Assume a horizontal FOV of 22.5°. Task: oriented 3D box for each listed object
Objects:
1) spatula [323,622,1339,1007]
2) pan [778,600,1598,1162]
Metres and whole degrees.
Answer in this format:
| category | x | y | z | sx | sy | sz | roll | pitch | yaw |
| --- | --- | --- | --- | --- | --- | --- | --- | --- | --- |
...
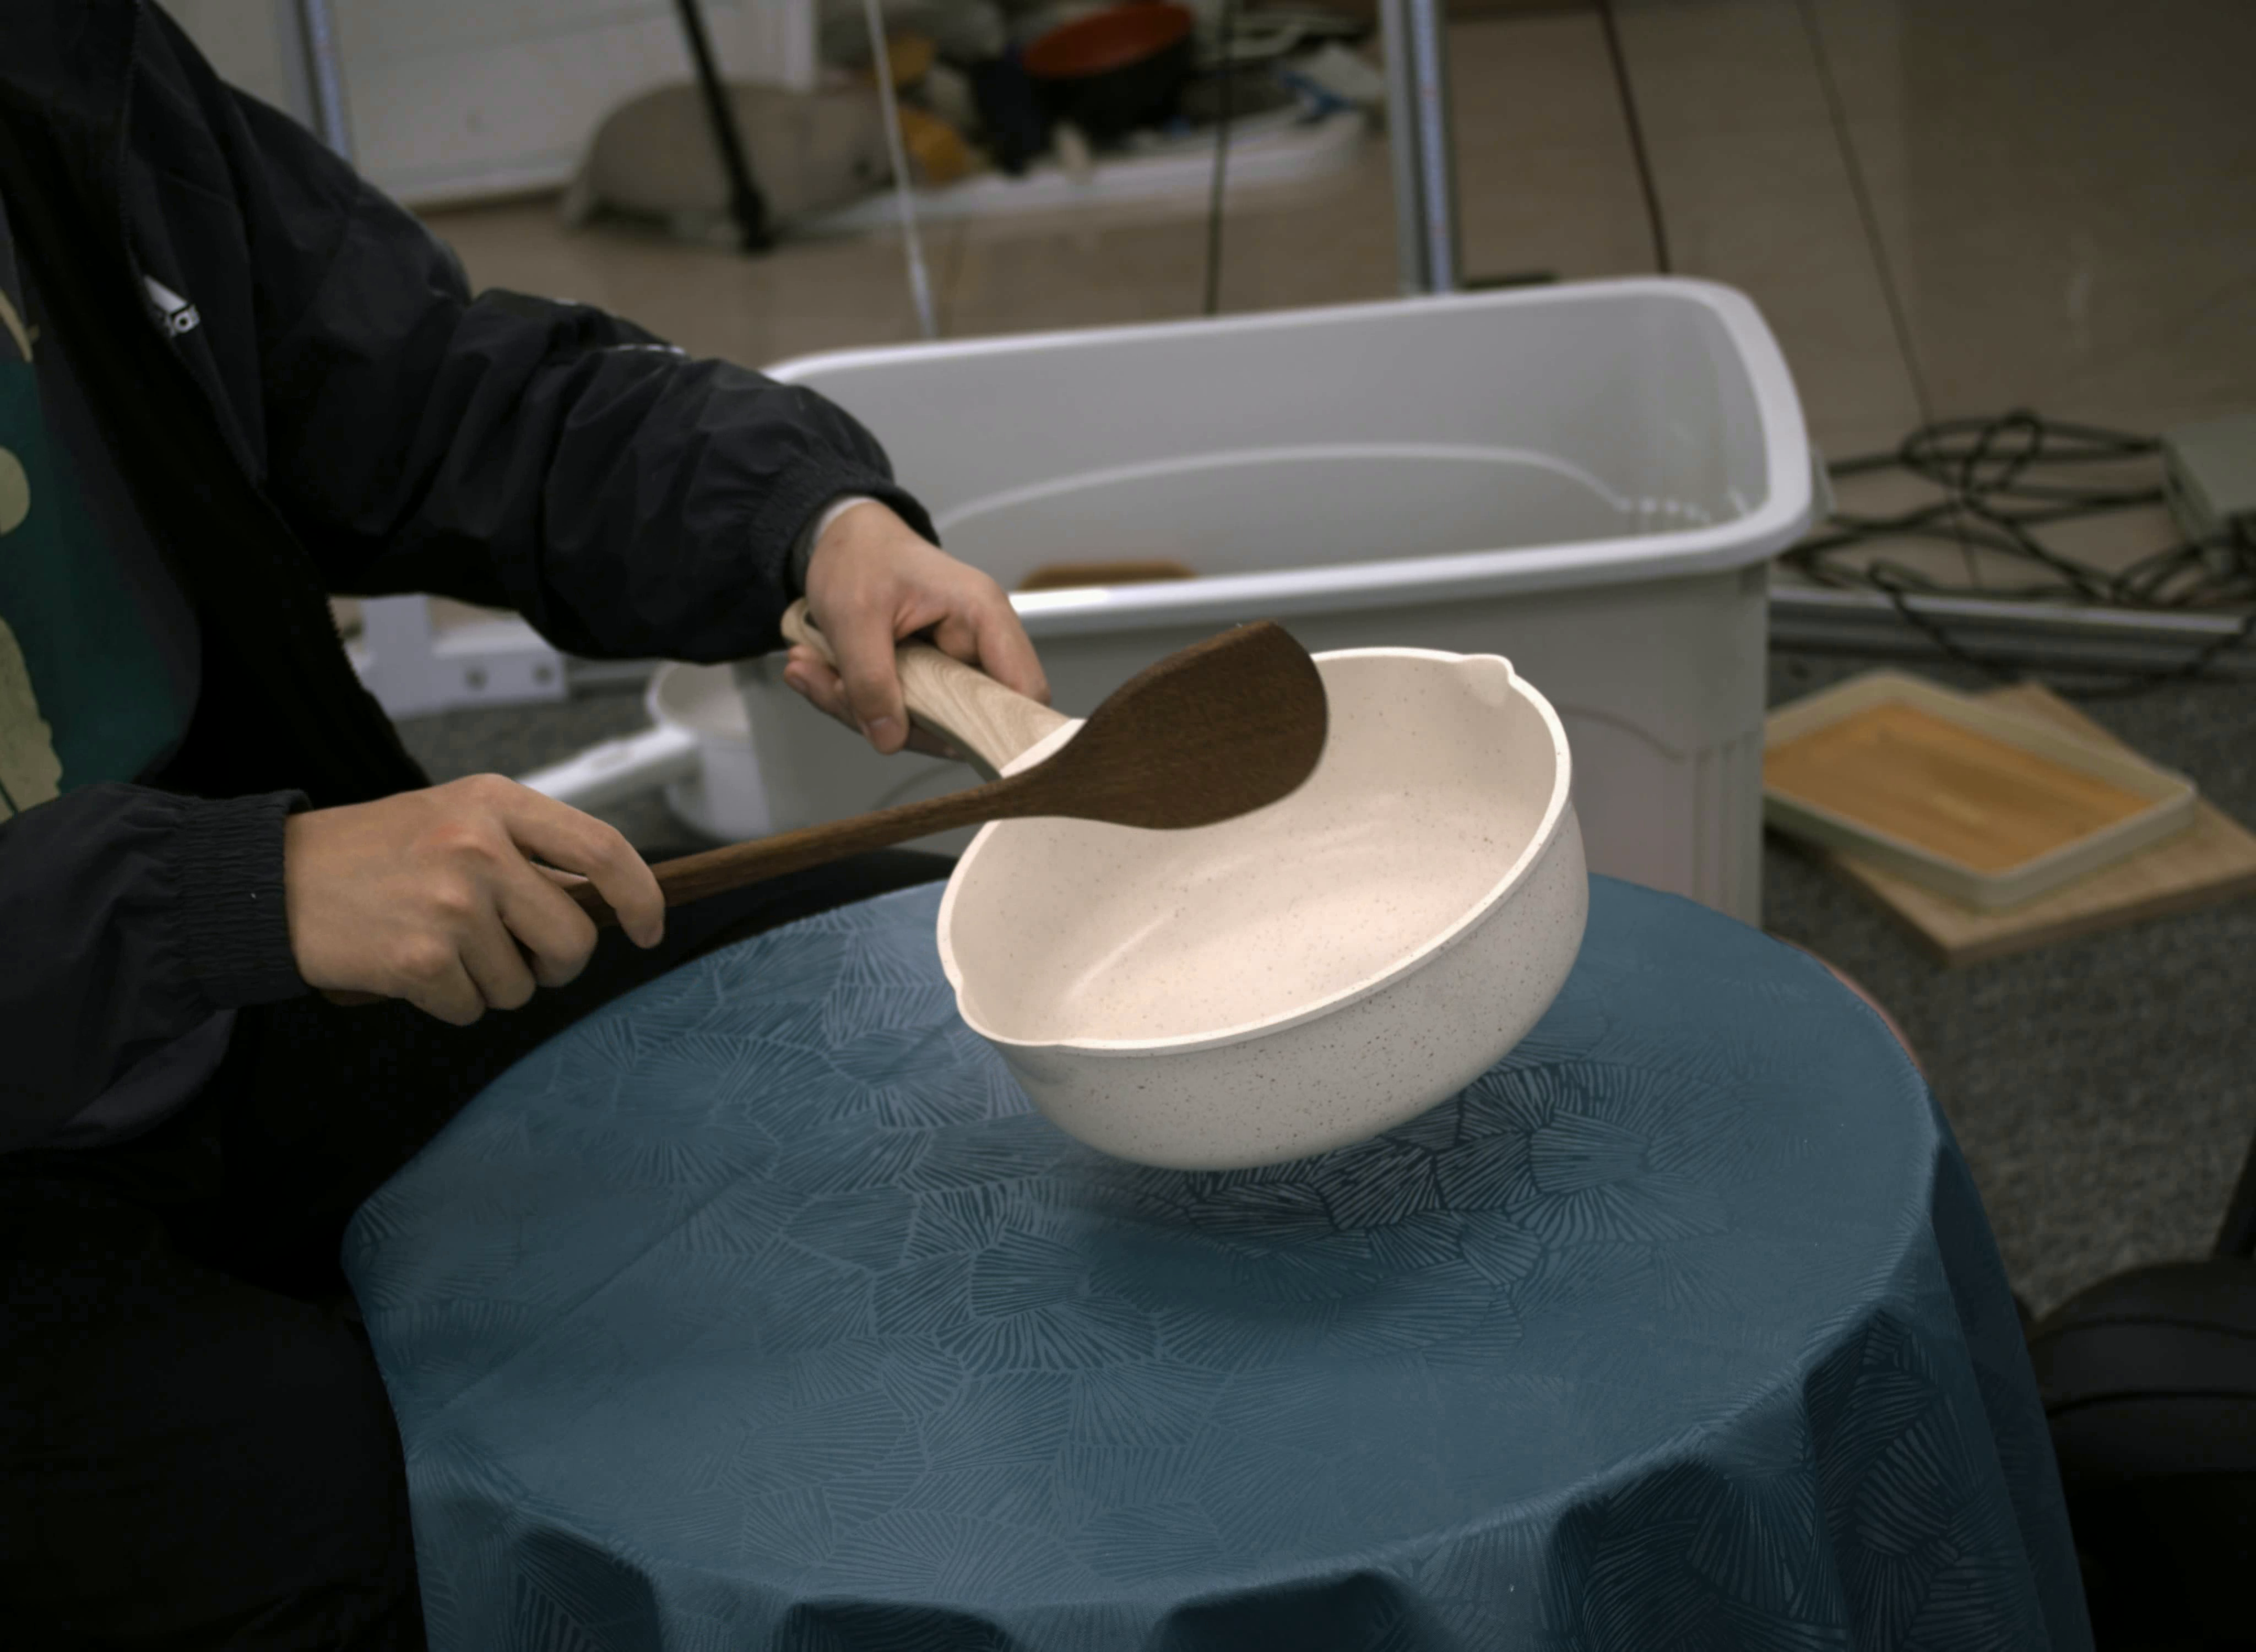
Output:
| category | x | y | z | sx | sy | sz | roll | pitch | yaw |
| --- | --- | --- | --- | --- | --- | --- | --- | --- | --- |
| spatula | -0.109 | 0.006 | 2.074 | 0.385 | 0.098 | 0.015 | -15 | 49 | 1 |
| pan | 0.005 | 0.003 | 2.215 | 0.261 | 0.104 | 0.431 | -38 | 34 | -21 |
